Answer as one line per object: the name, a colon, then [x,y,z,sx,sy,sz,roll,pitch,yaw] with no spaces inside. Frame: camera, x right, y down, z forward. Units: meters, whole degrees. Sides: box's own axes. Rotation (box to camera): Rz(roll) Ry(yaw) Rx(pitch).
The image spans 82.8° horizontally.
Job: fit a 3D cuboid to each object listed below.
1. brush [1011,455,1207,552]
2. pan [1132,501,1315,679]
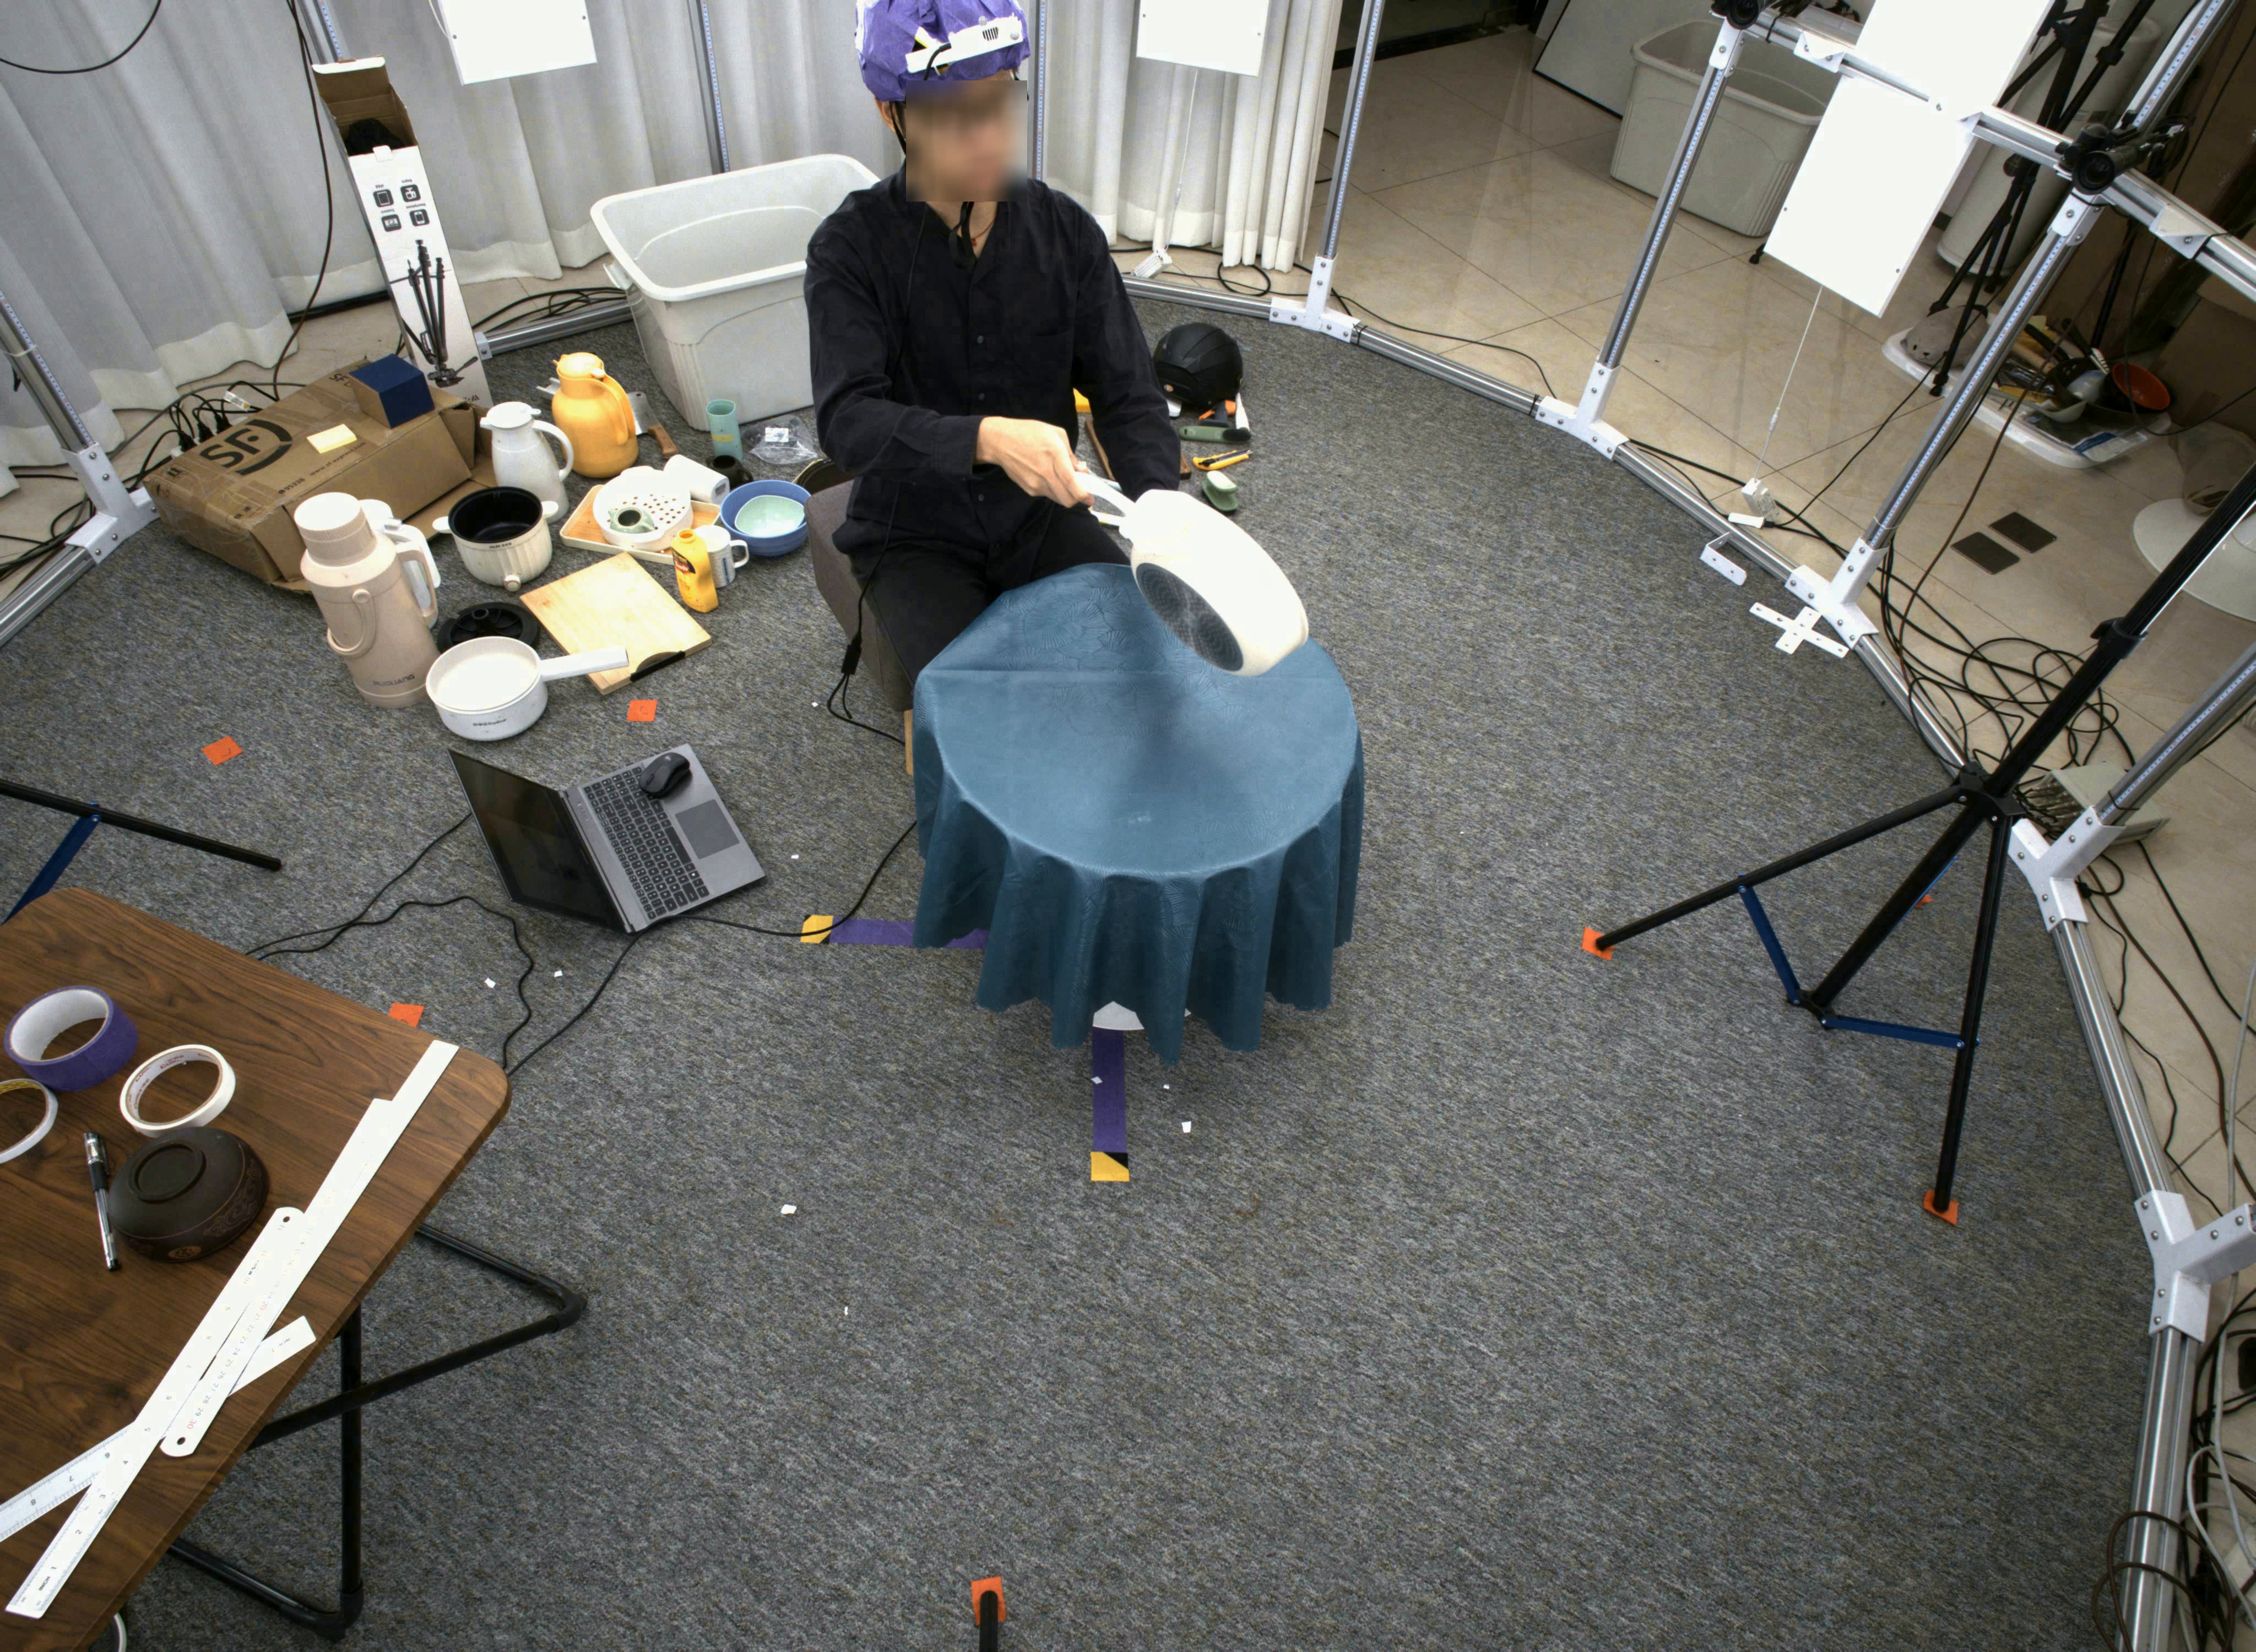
brush: [-0.020,-0.389,1.555,0.083,0.083,0.330,-24,35,-34]
pan: [0.078,-0.302,1.685,0.102,0.260,0.438,-48,22,-10]
